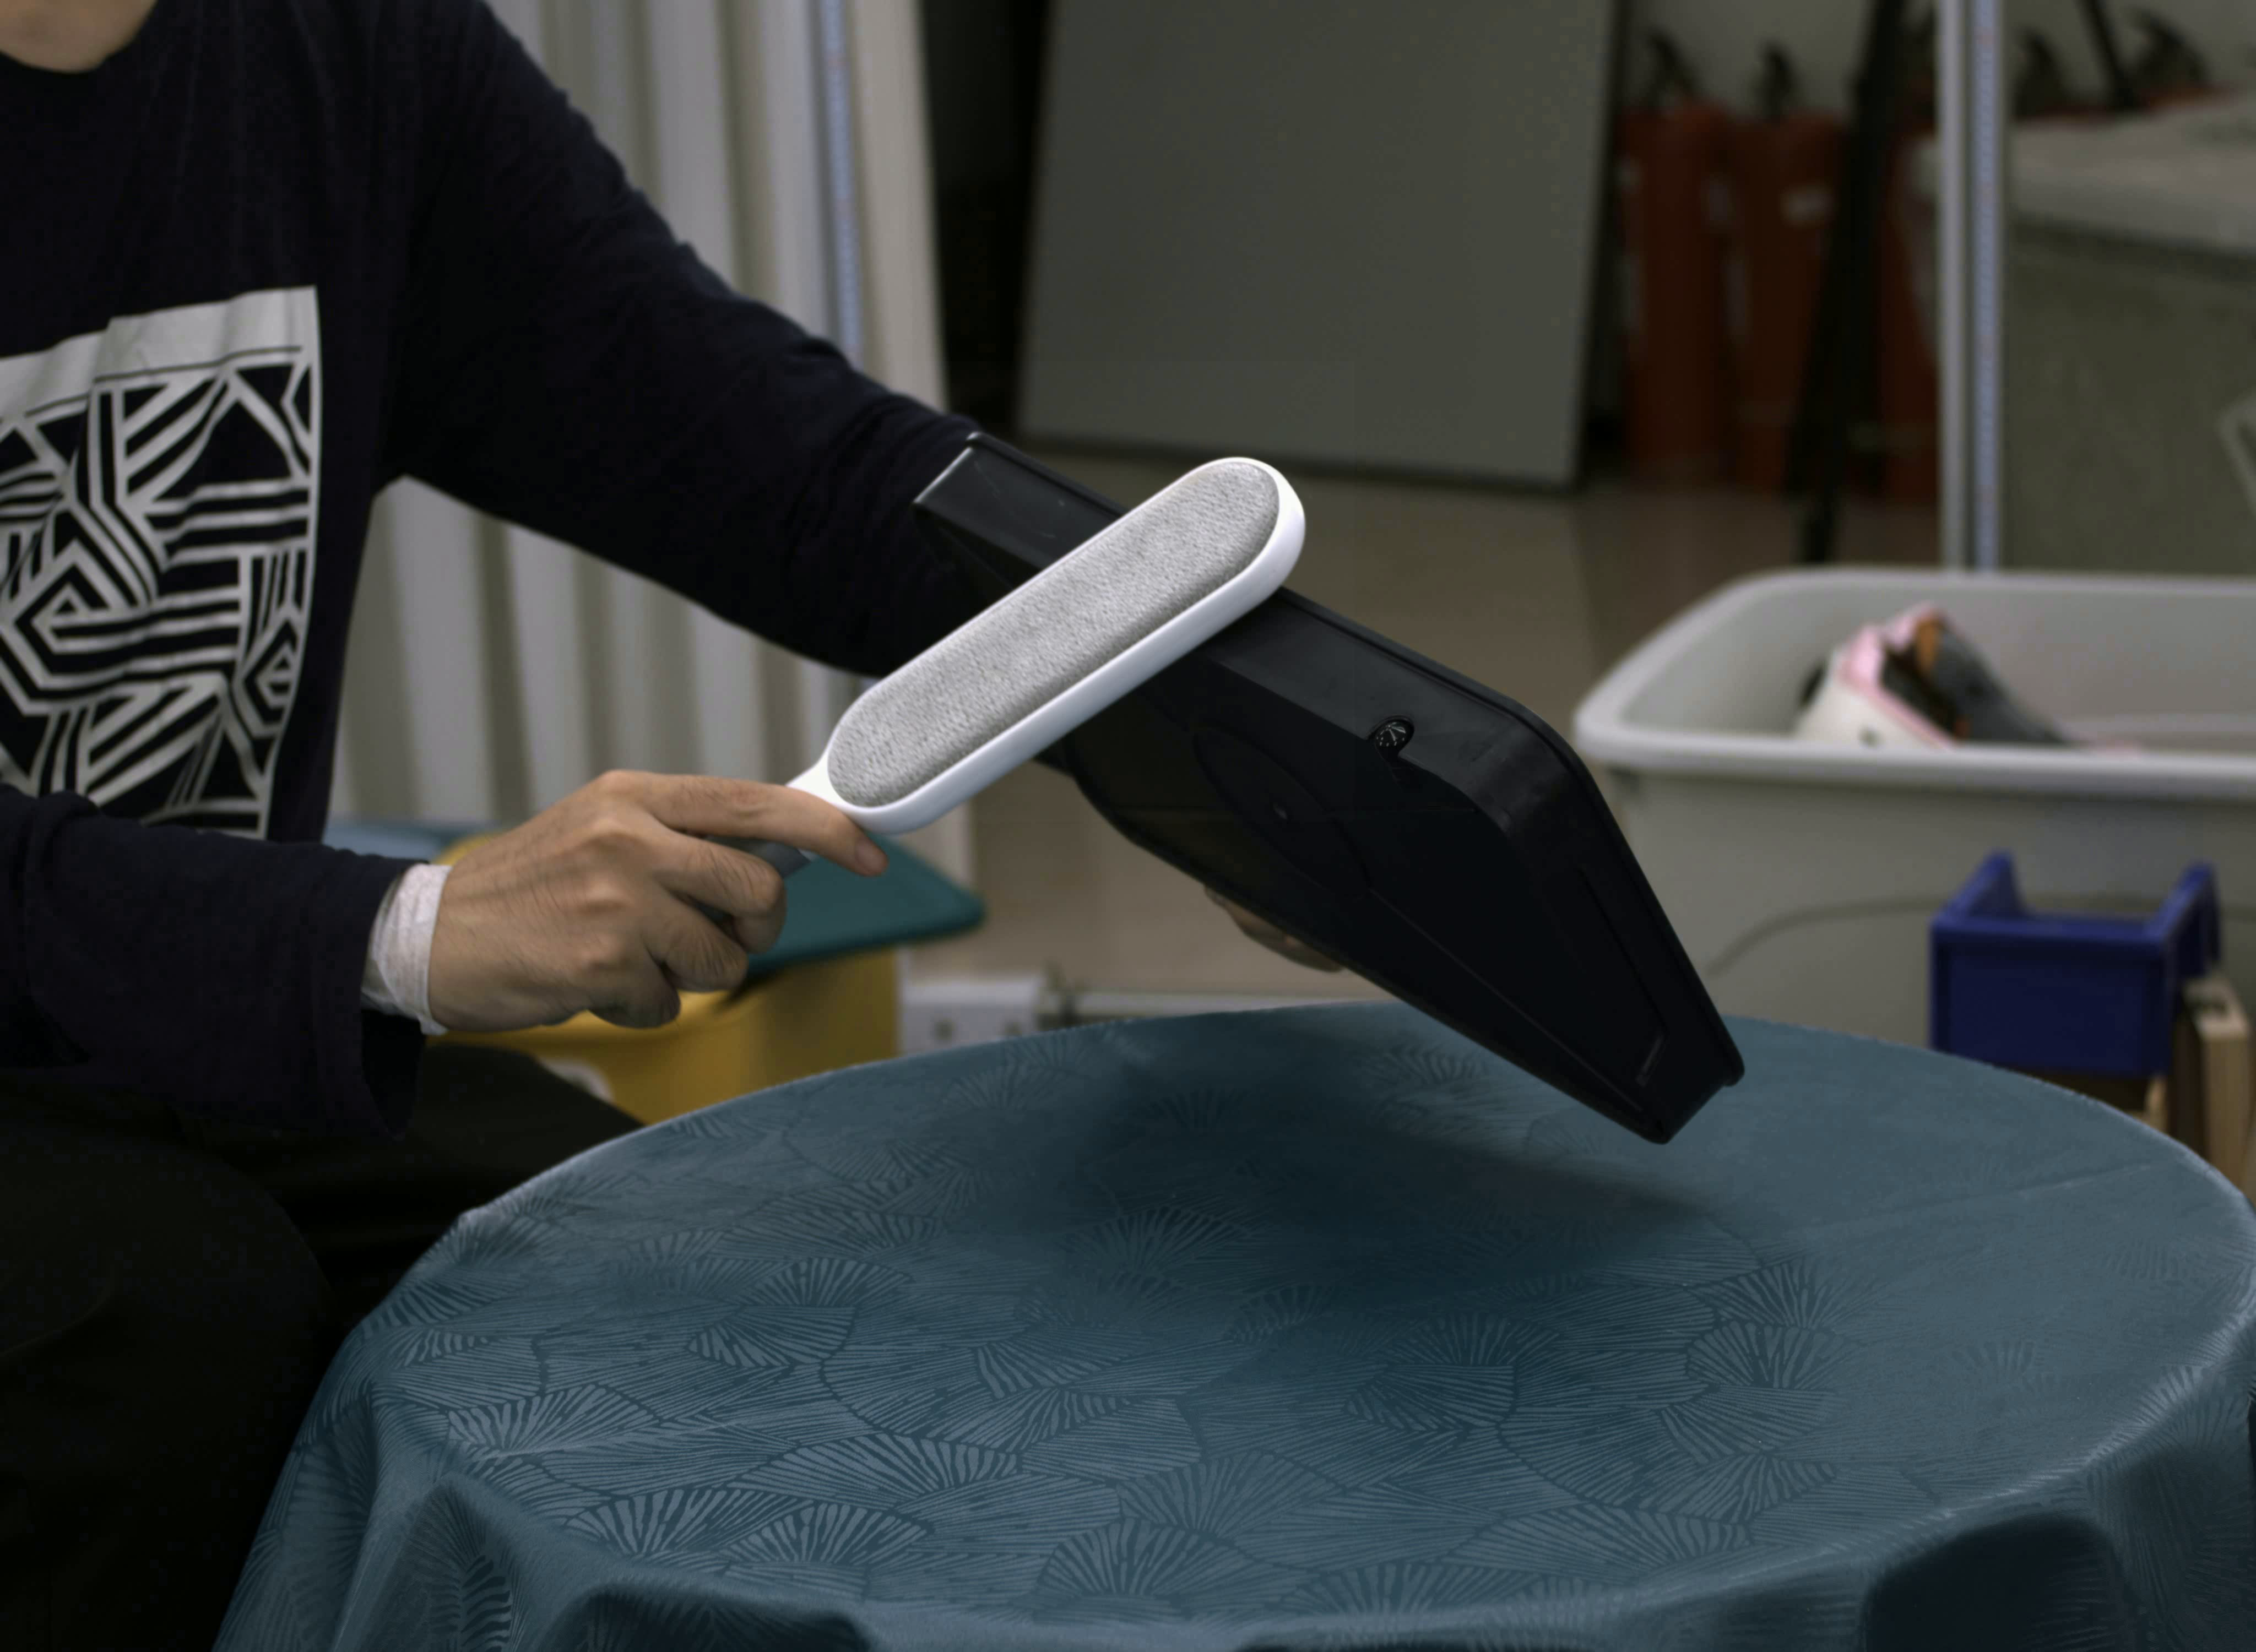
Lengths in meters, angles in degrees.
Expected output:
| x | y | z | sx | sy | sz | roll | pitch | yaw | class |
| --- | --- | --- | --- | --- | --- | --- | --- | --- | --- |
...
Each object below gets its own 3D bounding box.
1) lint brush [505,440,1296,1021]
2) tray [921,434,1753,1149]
| x | y | z | sx | sy | sz | roll | pitch | yaw | class |
| --- | --- | --- | --- | --- | --- | --- | --- | --- | --- |
| -0.075 | -0.027 | 1.731 | 0.309 | 0.020 | 0.061 | -34 | 49 | 12 | lint brush |
| 0.063 | -0.014 | 1.765 | 0.037 | 0.183 | 0.321 | -43 | 39 | -15 | tray |
